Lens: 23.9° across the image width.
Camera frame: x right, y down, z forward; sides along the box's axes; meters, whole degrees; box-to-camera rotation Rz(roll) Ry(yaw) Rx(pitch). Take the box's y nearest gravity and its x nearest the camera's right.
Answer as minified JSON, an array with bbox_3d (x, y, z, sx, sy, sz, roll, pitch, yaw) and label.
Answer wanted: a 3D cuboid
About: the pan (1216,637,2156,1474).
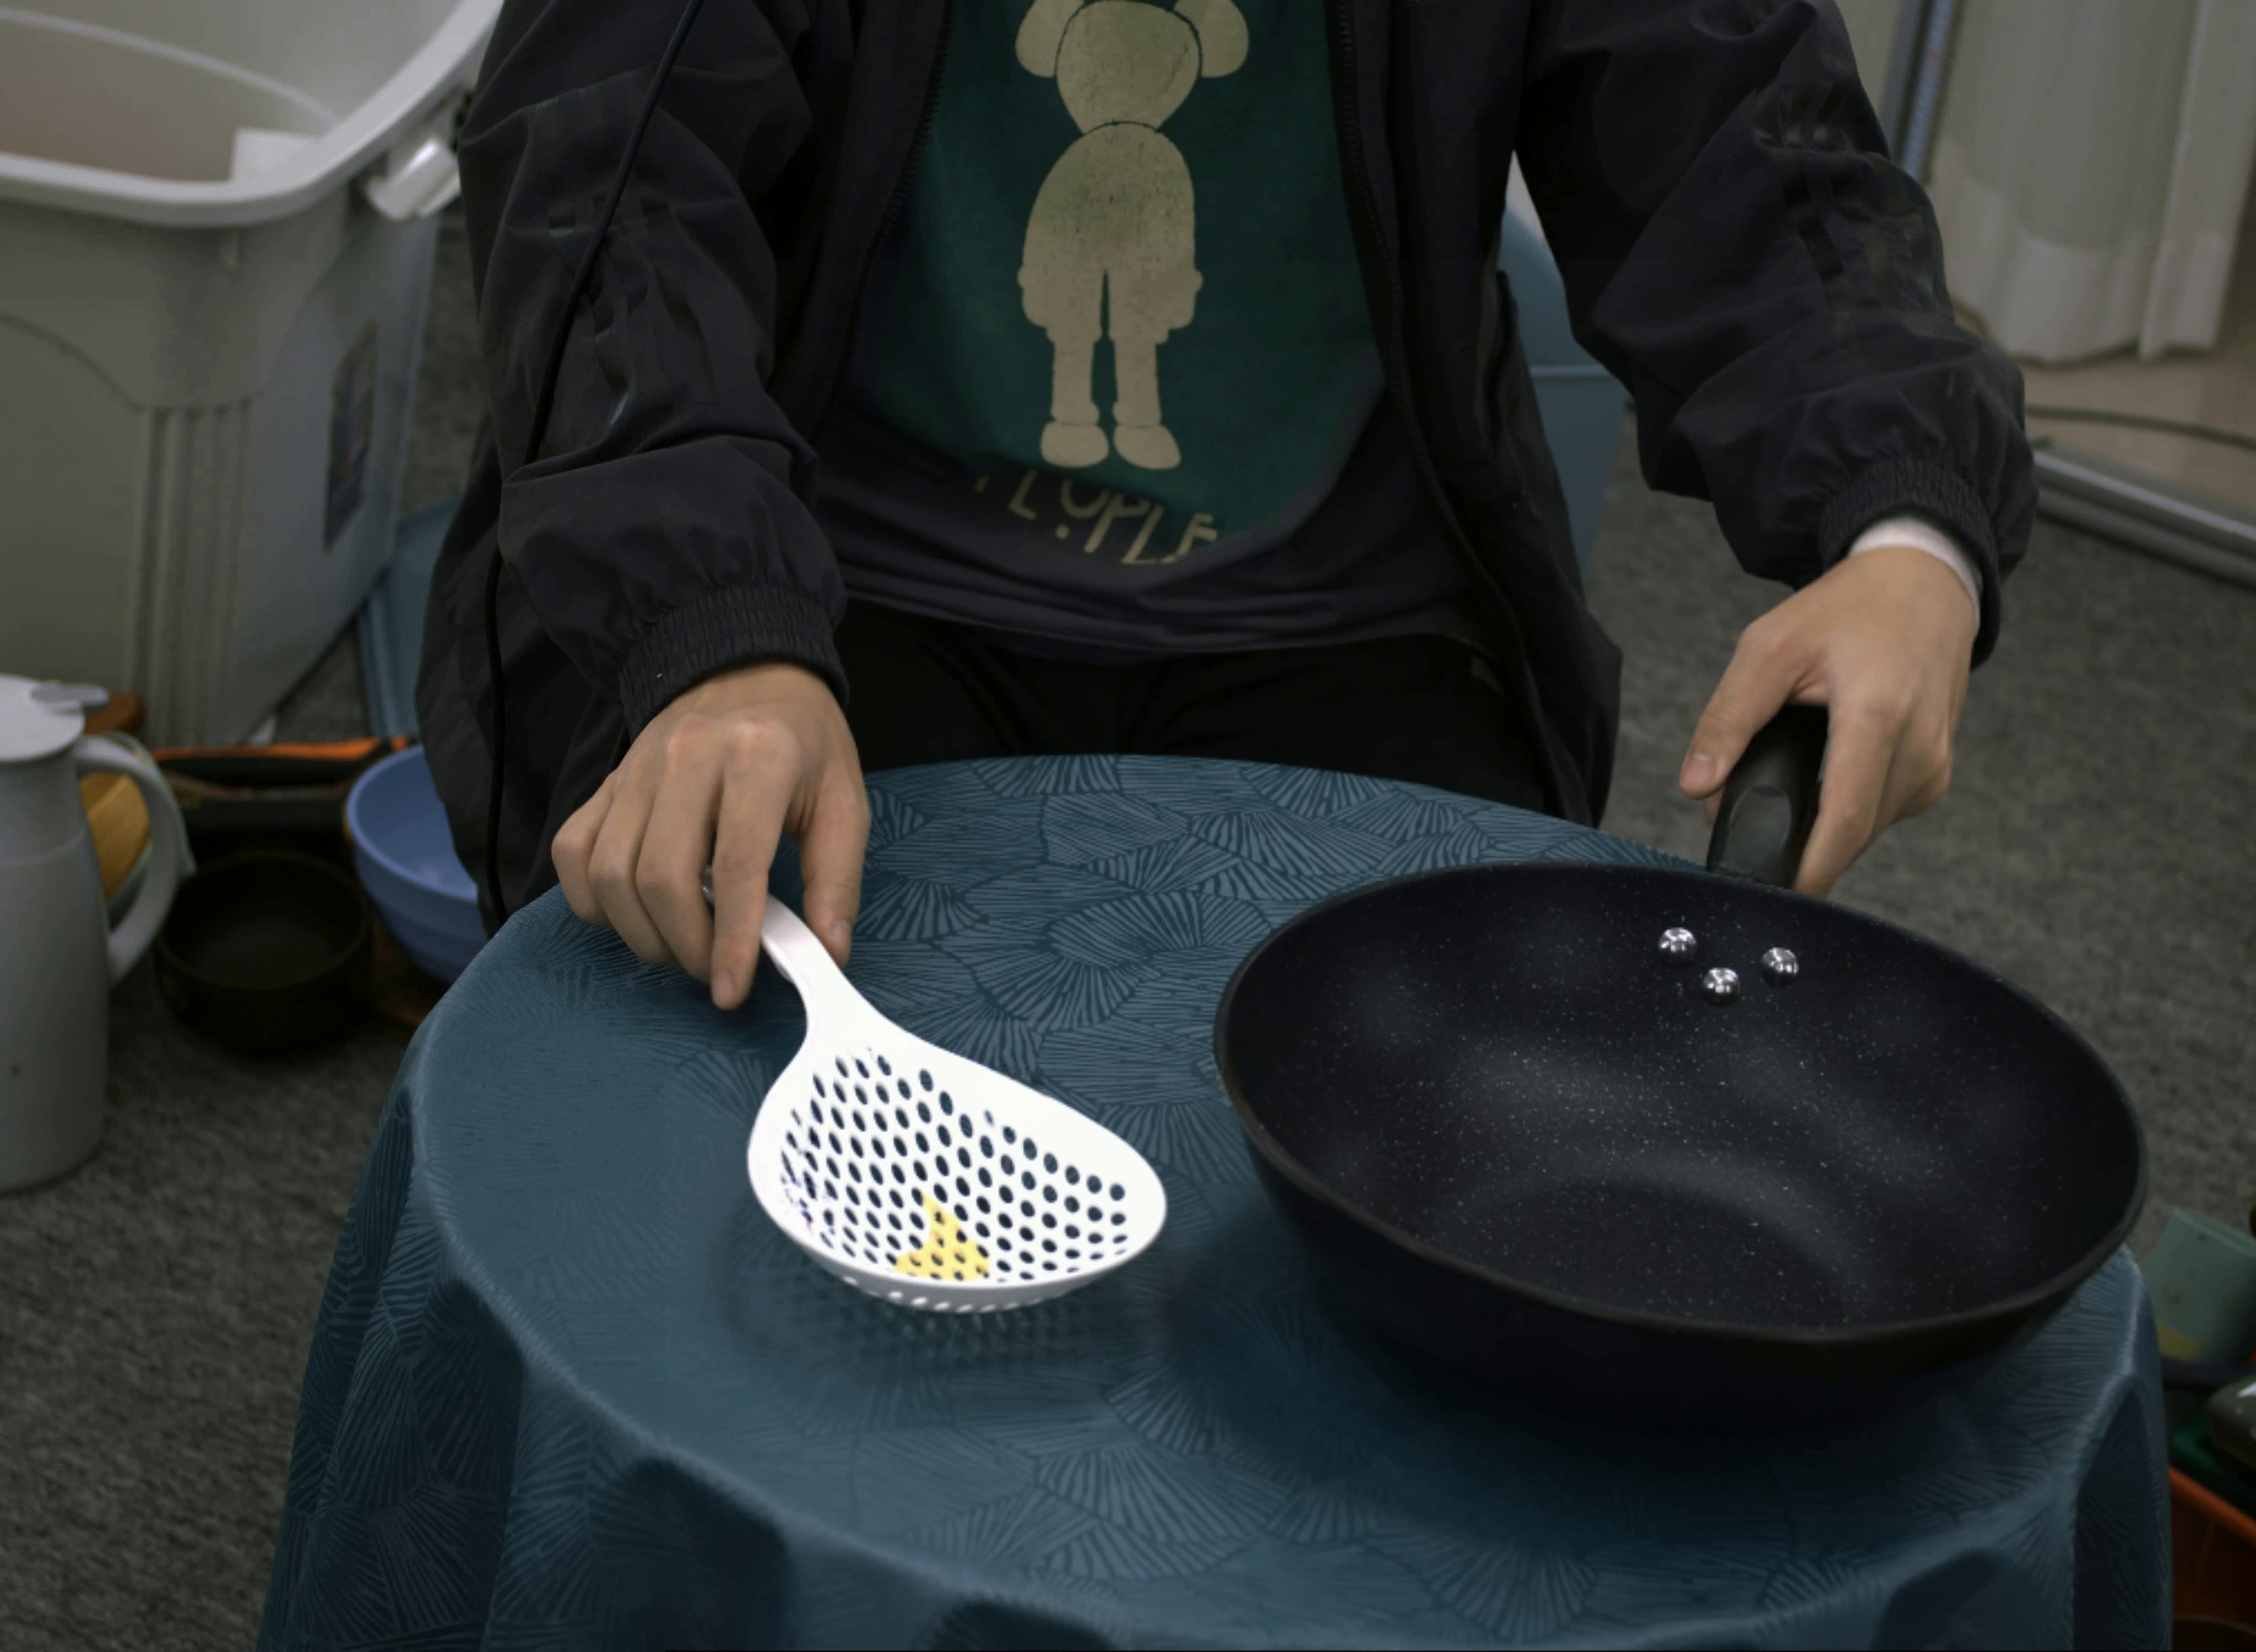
[{"bbox_3d":[0.197,0.079,1.821,0.310,0.111,0.478,13,28,9],"label":"pan"}]

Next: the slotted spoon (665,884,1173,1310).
[{"bbox_3d":[-0.095,0.080,1.824,0.136,0.050,0.351,-5,29,-21],"label":"slotted spoon"}]
